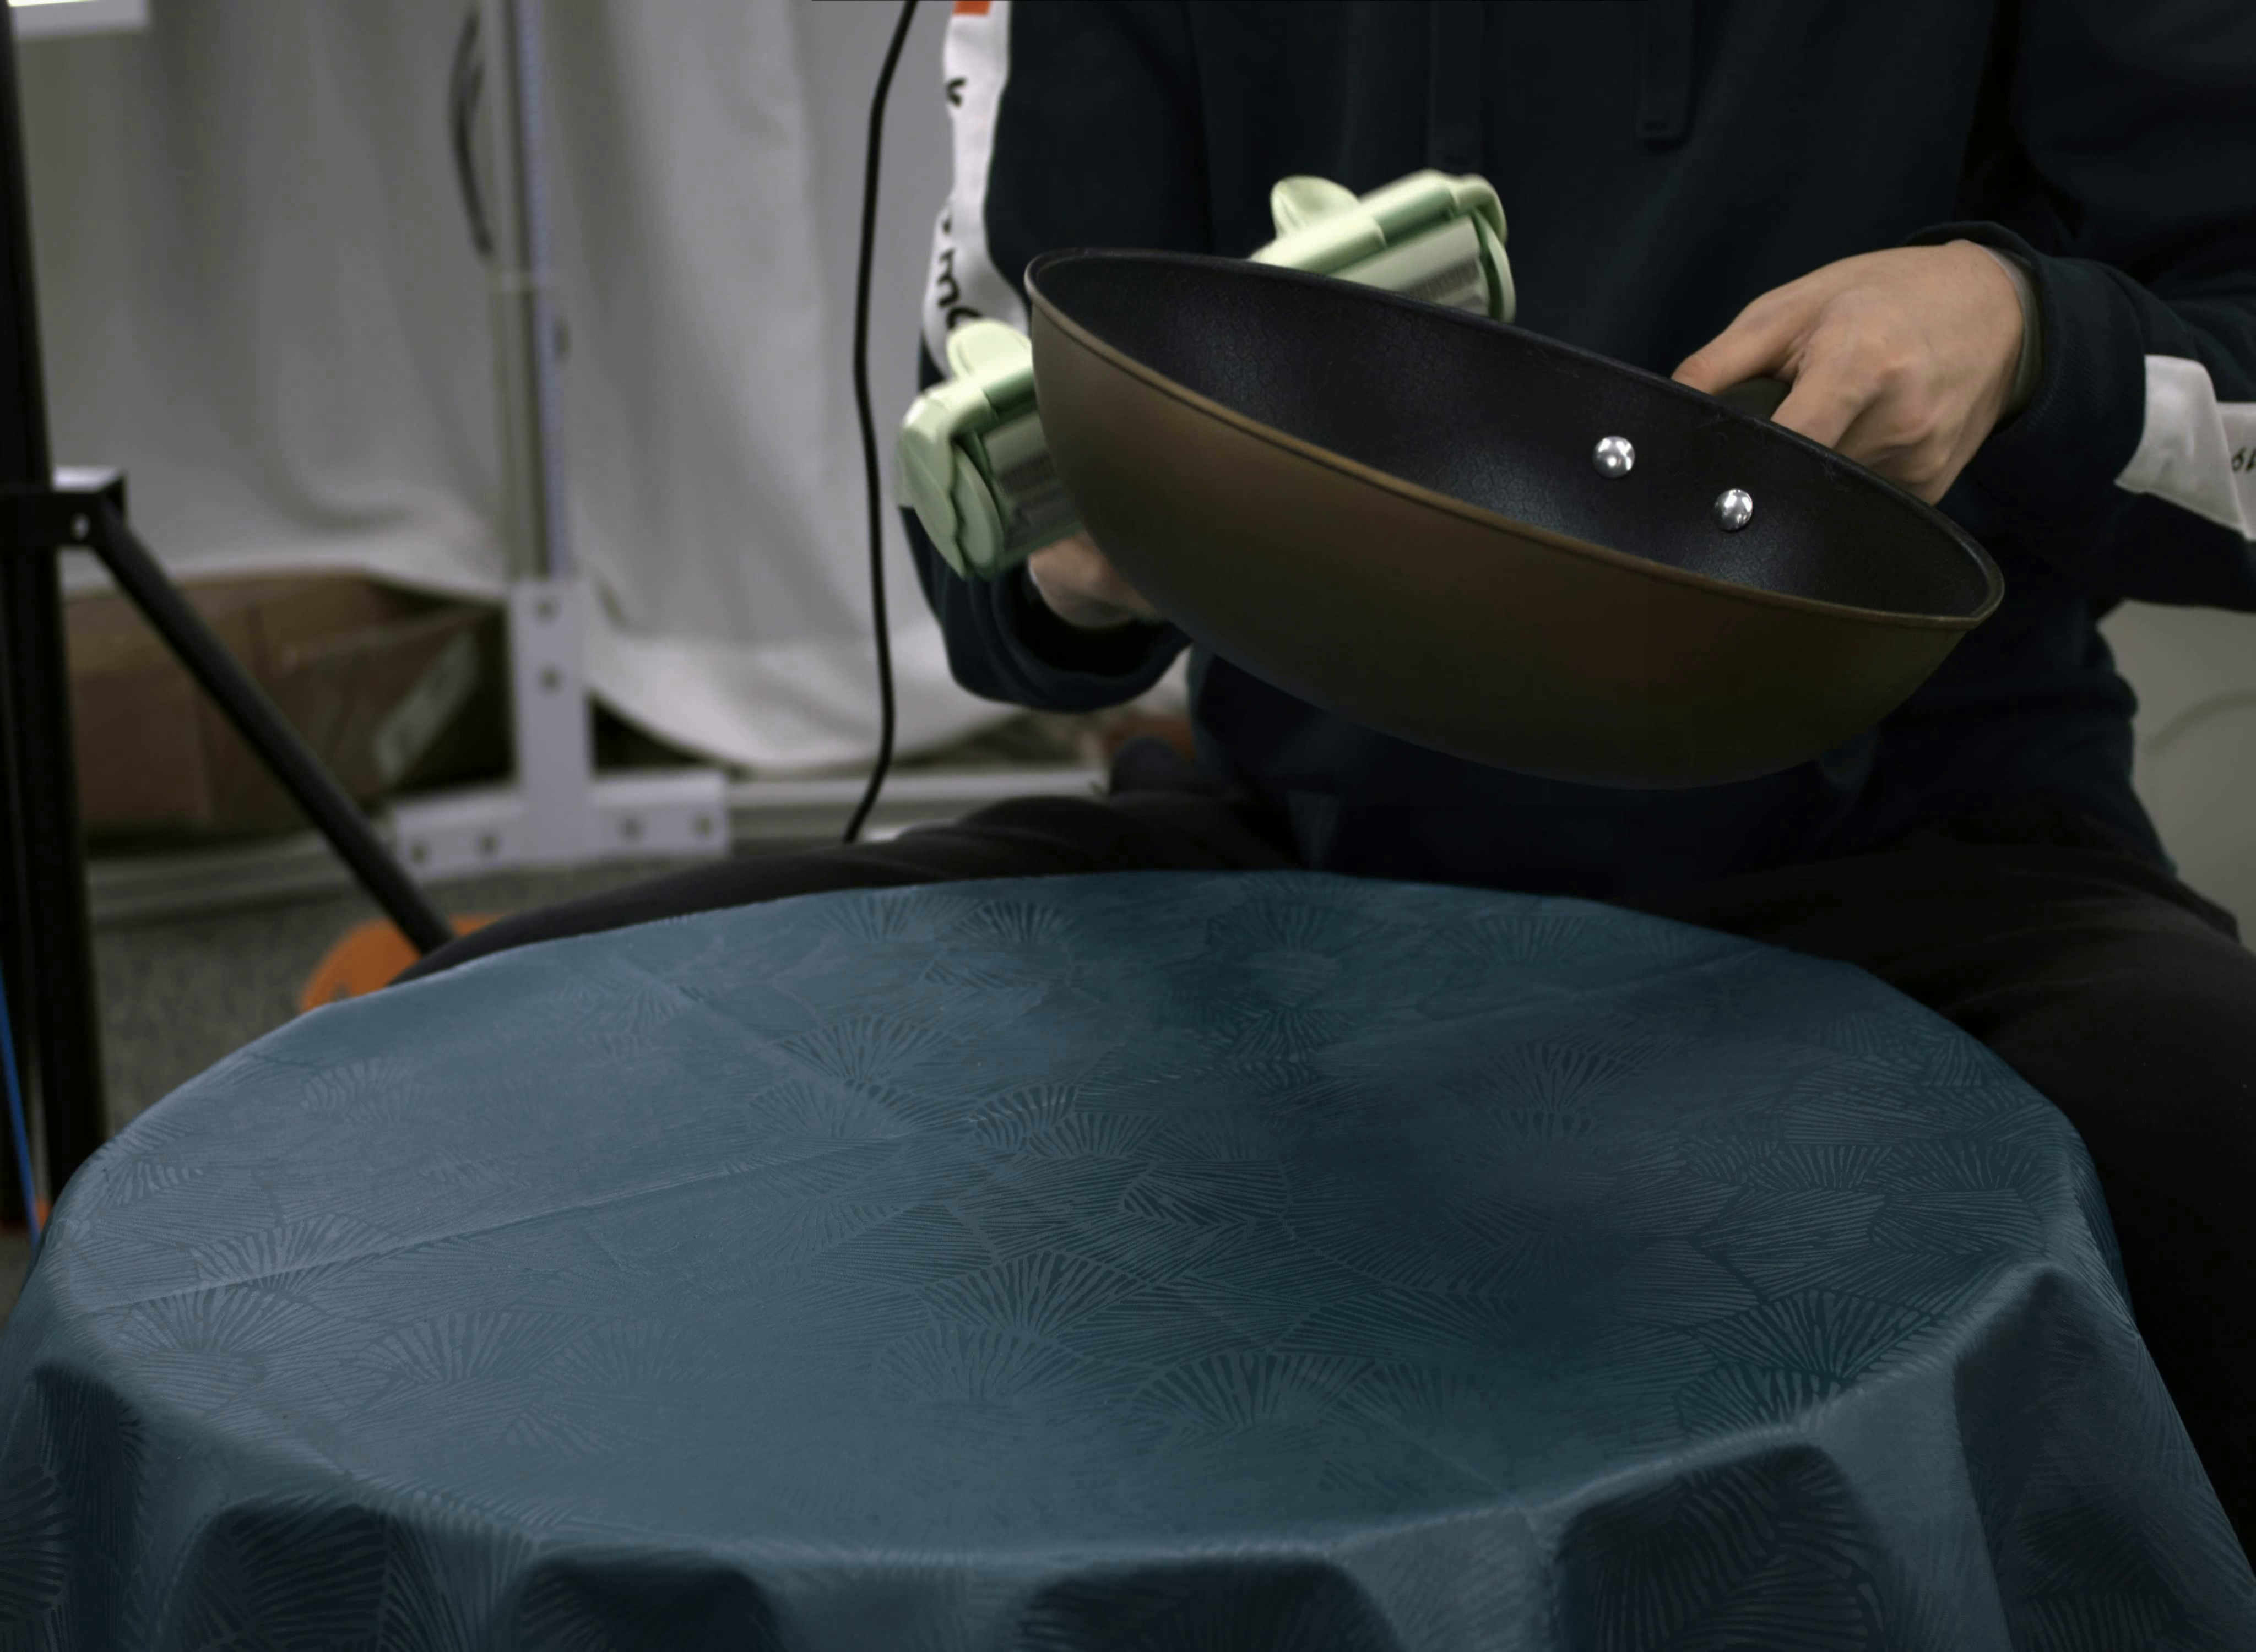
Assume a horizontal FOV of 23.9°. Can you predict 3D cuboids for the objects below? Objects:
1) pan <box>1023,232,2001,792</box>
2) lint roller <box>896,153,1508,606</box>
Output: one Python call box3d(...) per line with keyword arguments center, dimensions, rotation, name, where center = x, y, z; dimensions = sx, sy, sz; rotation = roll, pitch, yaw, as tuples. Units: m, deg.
box3d(center=(0.137, -0.086, 1.539), dimensions=(0.293, 0.087, 0.454), rotation=(26, 17, 25), name="pan")
box3d(center=(0.009, -0.131, 1.649), dimensions=(0.196, 0.083, 0.184), rotation=(-26, -10, -18), name="lint roller")
